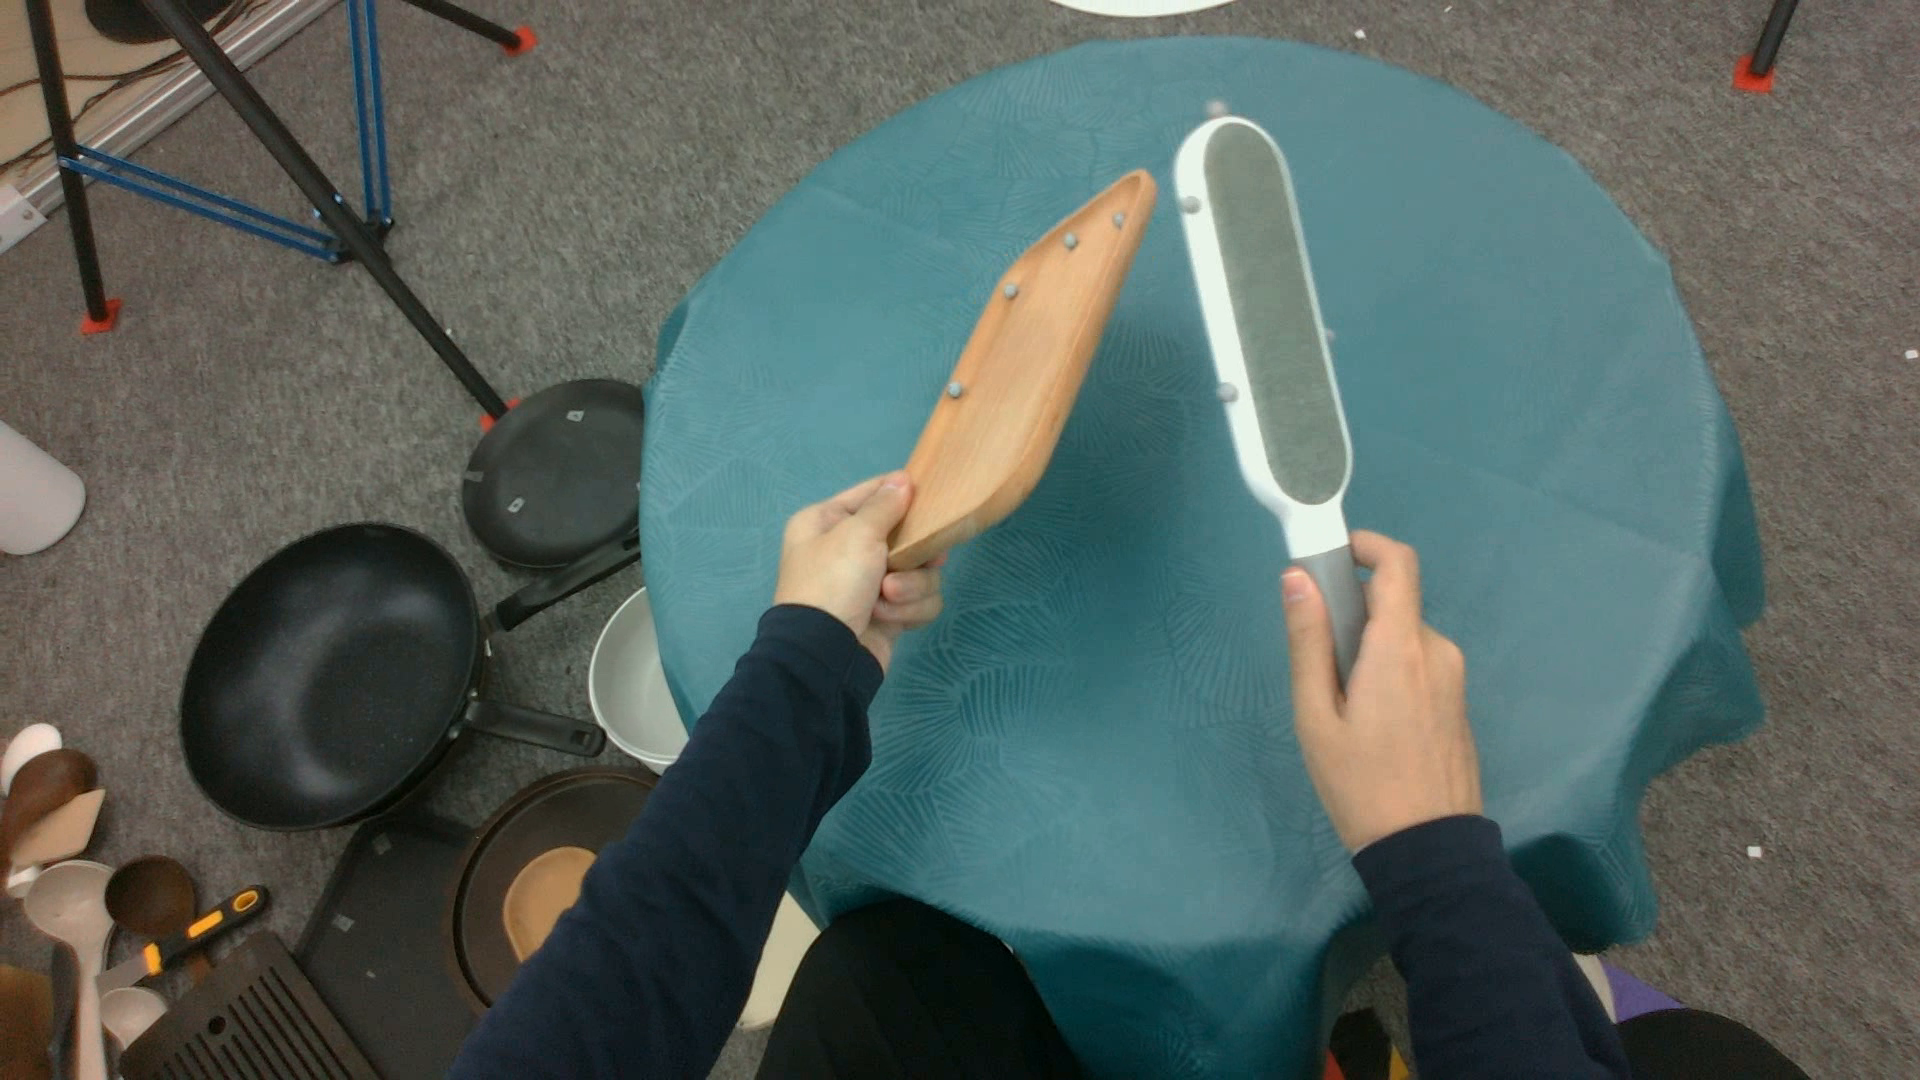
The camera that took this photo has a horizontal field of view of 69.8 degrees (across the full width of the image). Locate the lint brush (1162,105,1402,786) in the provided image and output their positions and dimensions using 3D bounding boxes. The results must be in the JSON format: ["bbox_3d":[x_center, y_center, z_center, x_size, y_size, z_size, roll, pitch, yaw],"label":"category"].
[{"bbox_3d":[0.144,-0.043,0.605,0.060,0.021,0.309,-13,88,-38],"label":"lint brush"}]

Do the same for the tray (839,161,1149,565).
[{"bbox_3d":[0.021,-0.092,0.692,0.023,0.130,0.252,39,53,-18],"label":"tray"}]
